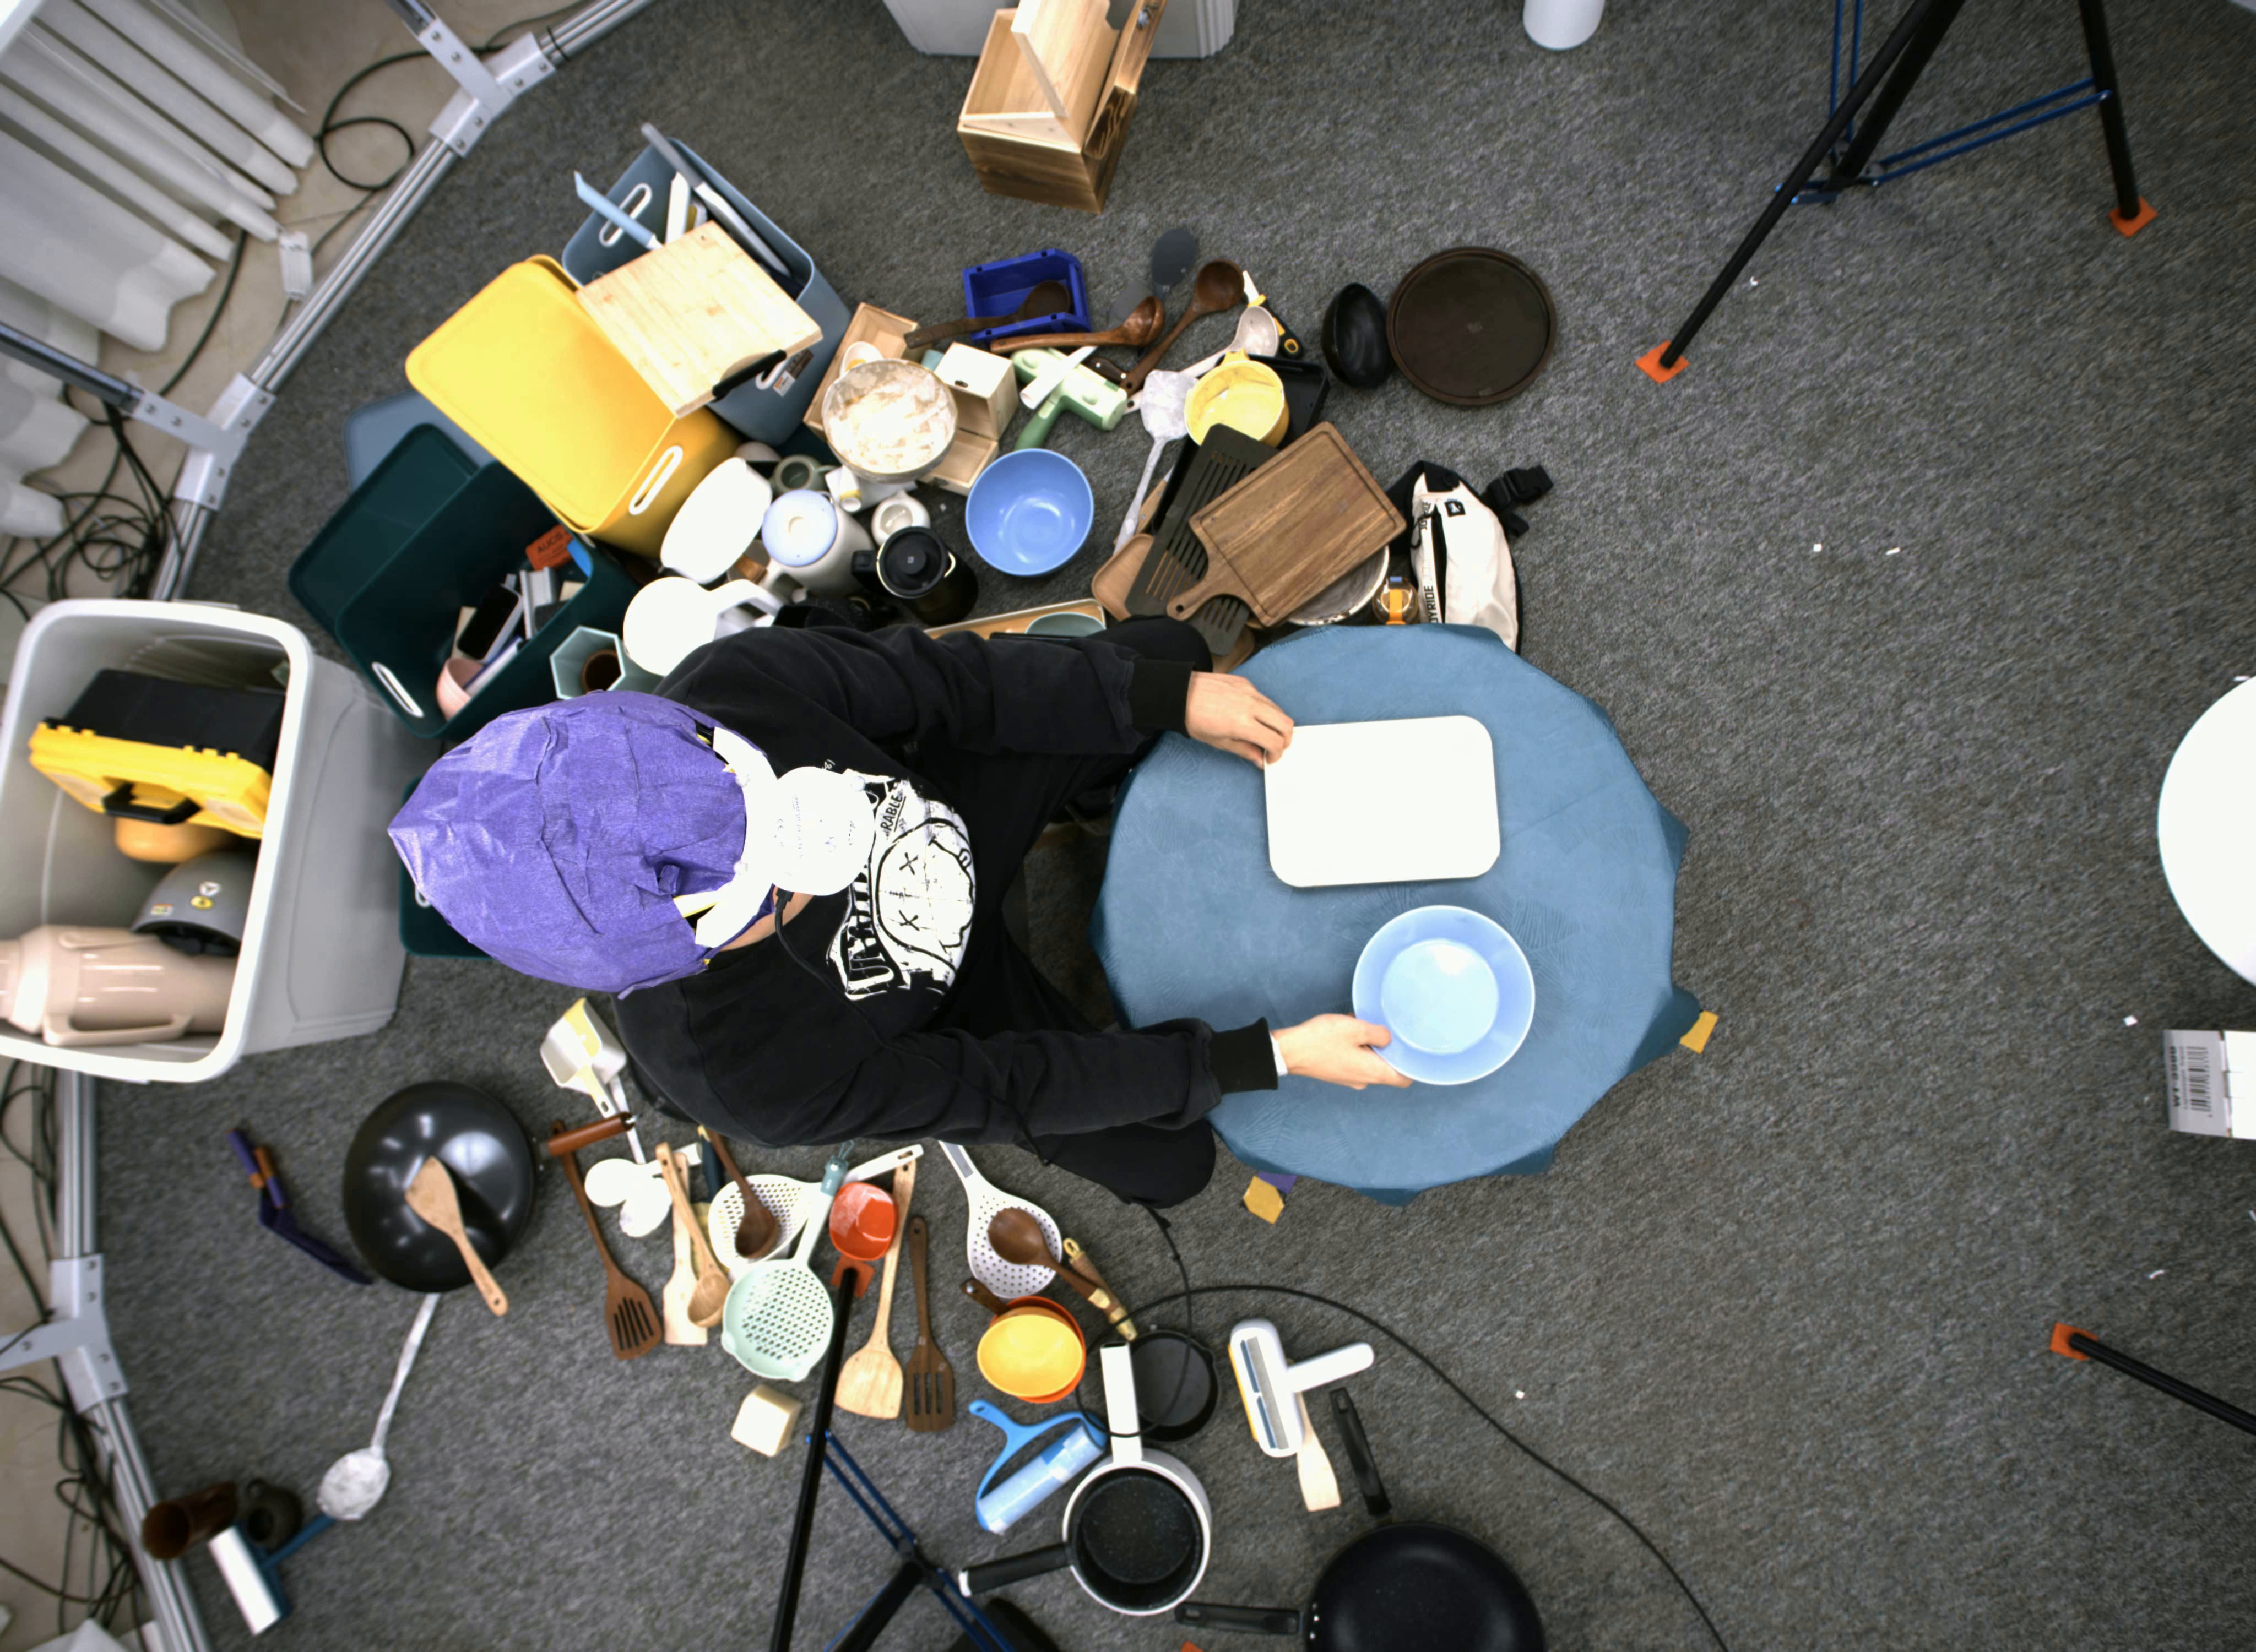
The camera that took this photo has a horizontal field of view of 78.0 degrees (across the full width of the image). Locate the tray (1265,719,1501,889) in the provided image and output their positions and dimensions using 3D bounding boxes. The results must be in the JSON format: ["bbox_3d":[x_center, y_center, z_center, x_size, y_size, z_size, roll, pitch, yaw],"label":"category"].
[{"bbox_3d":[0.268,-0.024,1.456,0.240,0.017,0.170,-4,85,6],"label":"tray"}]

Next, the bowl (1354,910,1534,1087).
[{"bbox_3d":[0.316,0.173,1.396,0.177,0.070,0.175,-1,83,9],"label":"bowl"}]
